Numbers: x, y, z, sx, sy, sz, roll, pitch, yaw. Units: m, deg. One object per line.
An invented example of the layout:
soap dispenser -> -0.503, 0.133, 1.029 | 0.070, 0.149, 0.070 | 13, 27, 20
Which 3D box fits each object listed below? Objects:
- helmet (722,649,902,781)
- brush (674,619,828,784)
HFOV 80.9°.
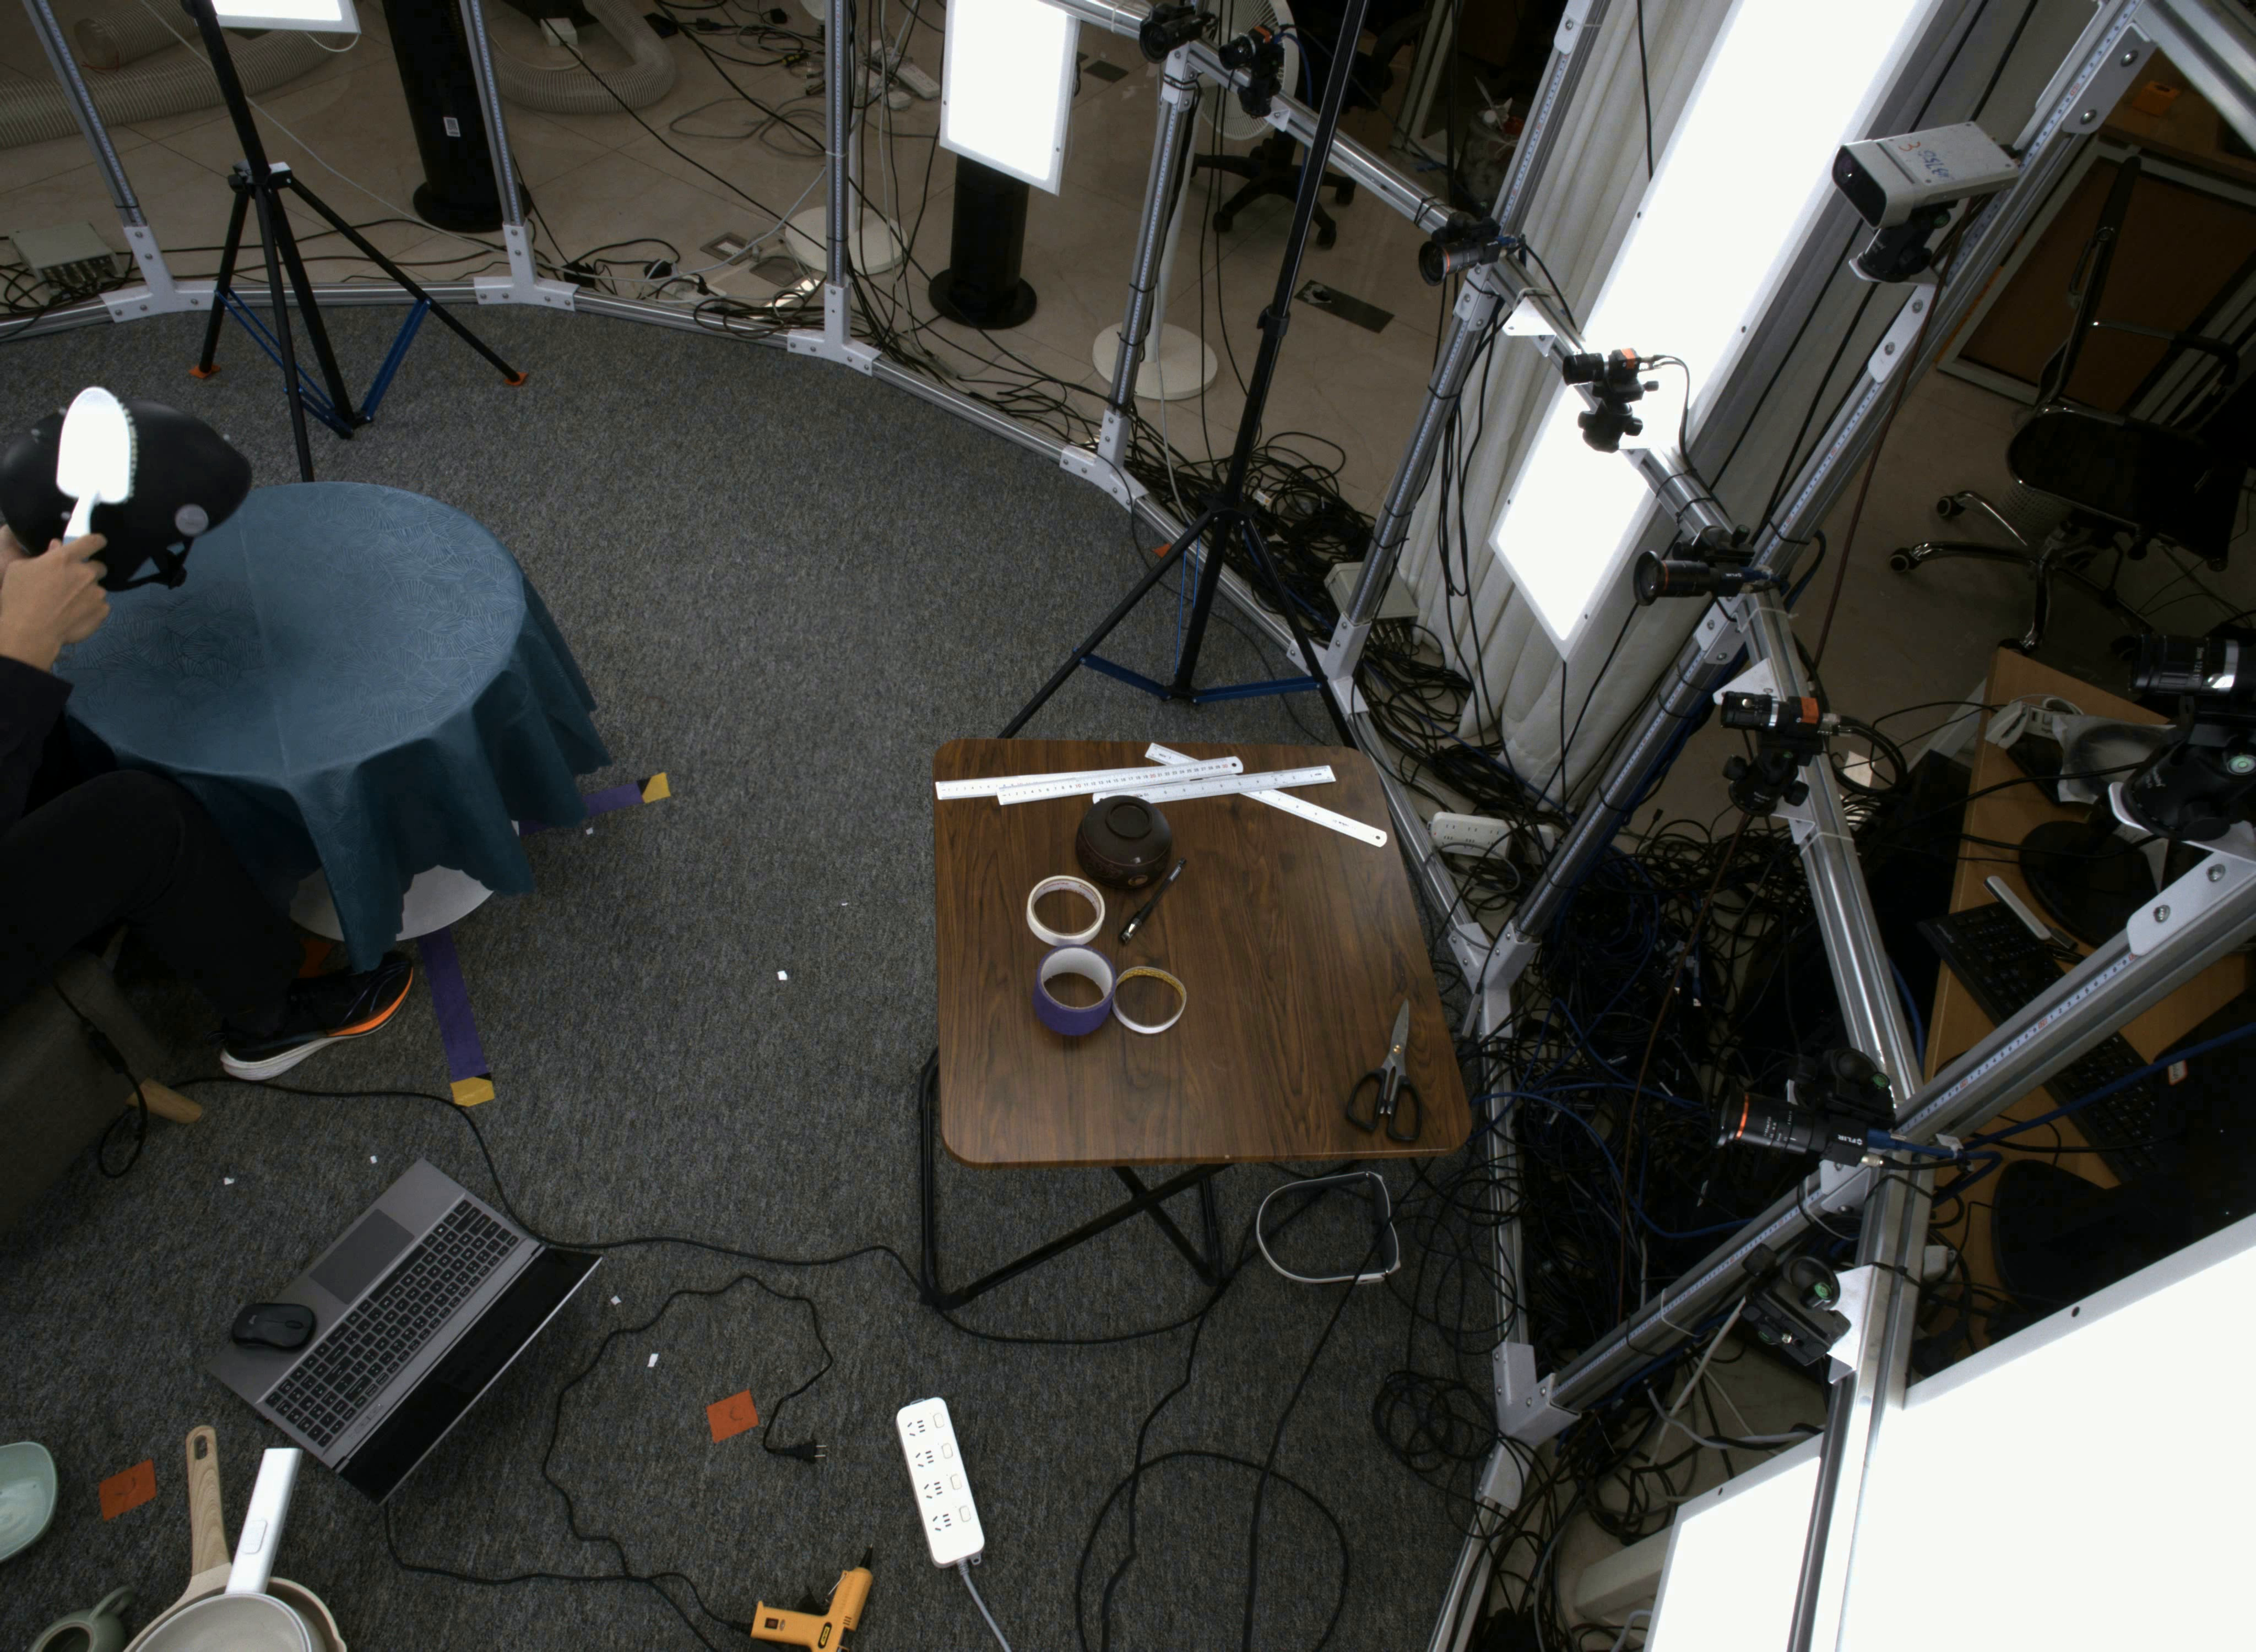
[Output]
helmet -> -0.495, -0.184, 1.967 | 0.271, 0.172, 0.224 | -16, 22, -6
brush -> -0.529, -0.163, 1.814 | 0.080, 0.088, 0.324 | 3, 49, 40
